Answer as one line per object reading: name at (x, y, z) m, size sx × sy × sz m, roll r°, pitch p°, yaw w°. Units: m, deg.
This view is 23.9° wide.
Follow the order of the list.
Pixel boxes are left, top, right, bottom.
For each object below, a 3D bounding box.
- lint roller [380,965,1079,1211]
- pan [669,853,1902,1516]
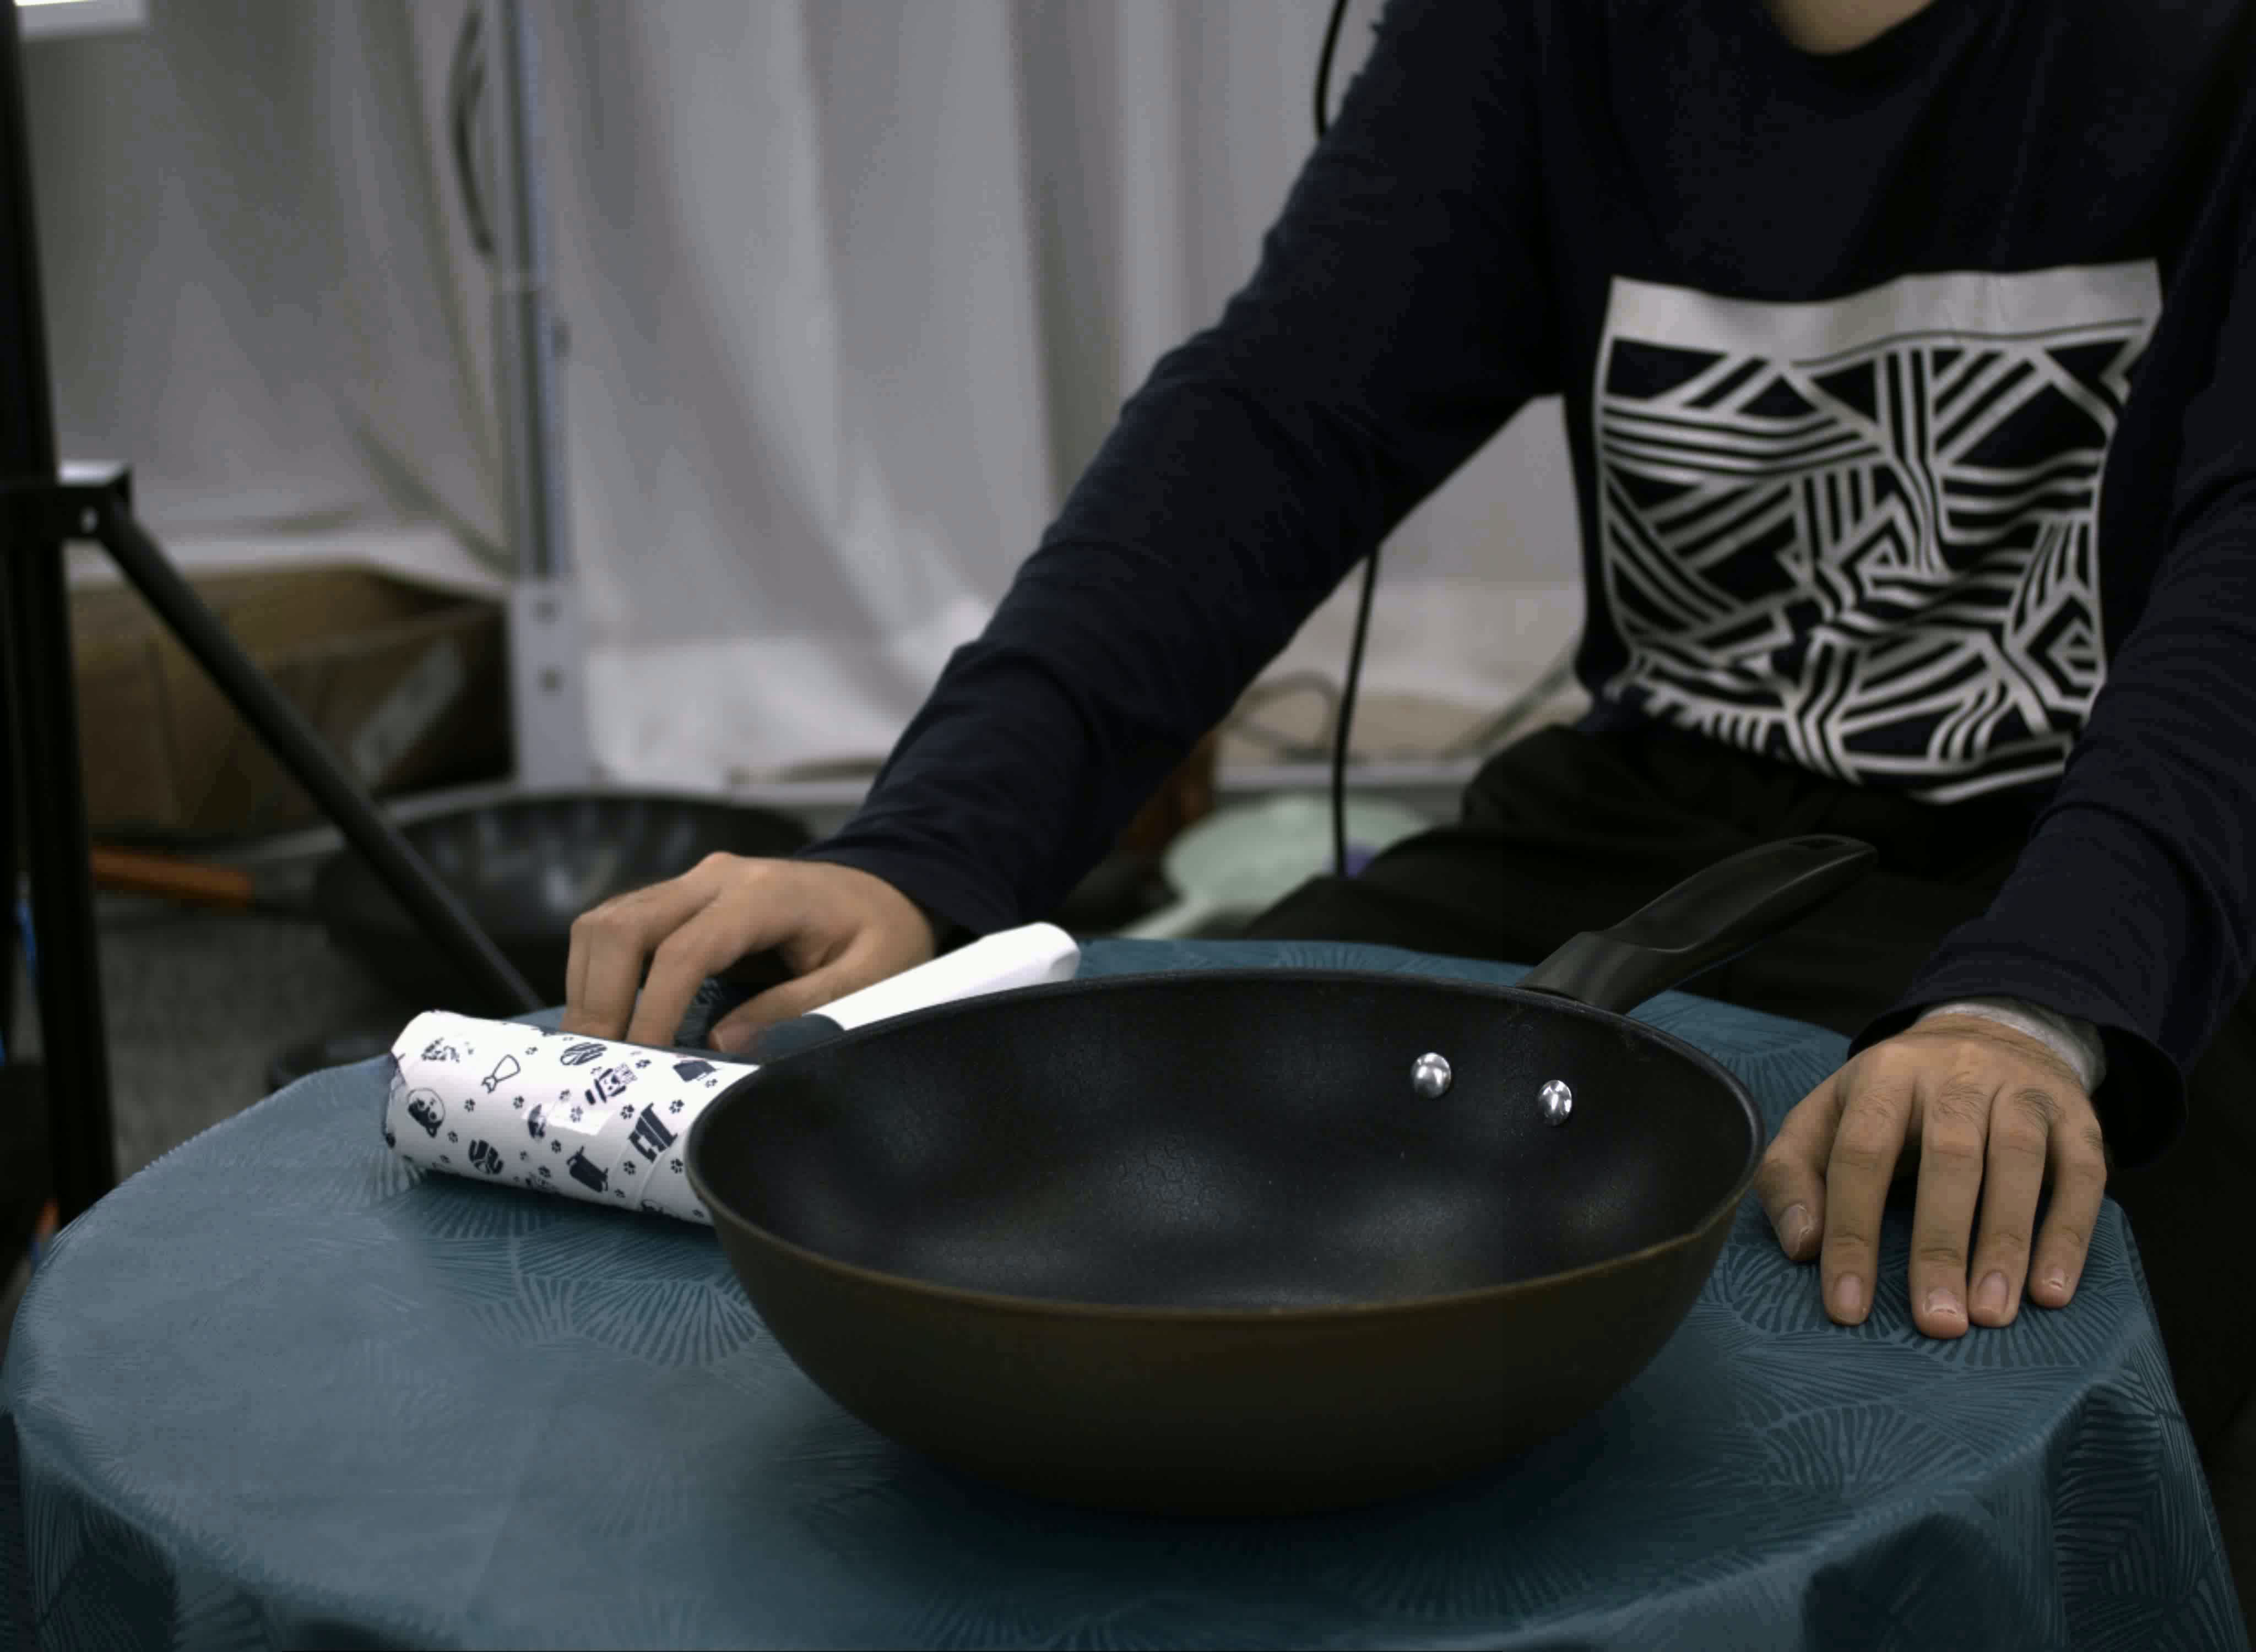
lint roller at (-0.091, 0.068, 1.647) m, size 0.180 × 0.050 × 0.242 m, roll 6°, pitch 14°, yaw 33°
pan at (0.078, 0.093, 1.448) m, size 0.294 × 0.087 × 0.453 m, roll 9°, pitch 19°, yaw 38°
